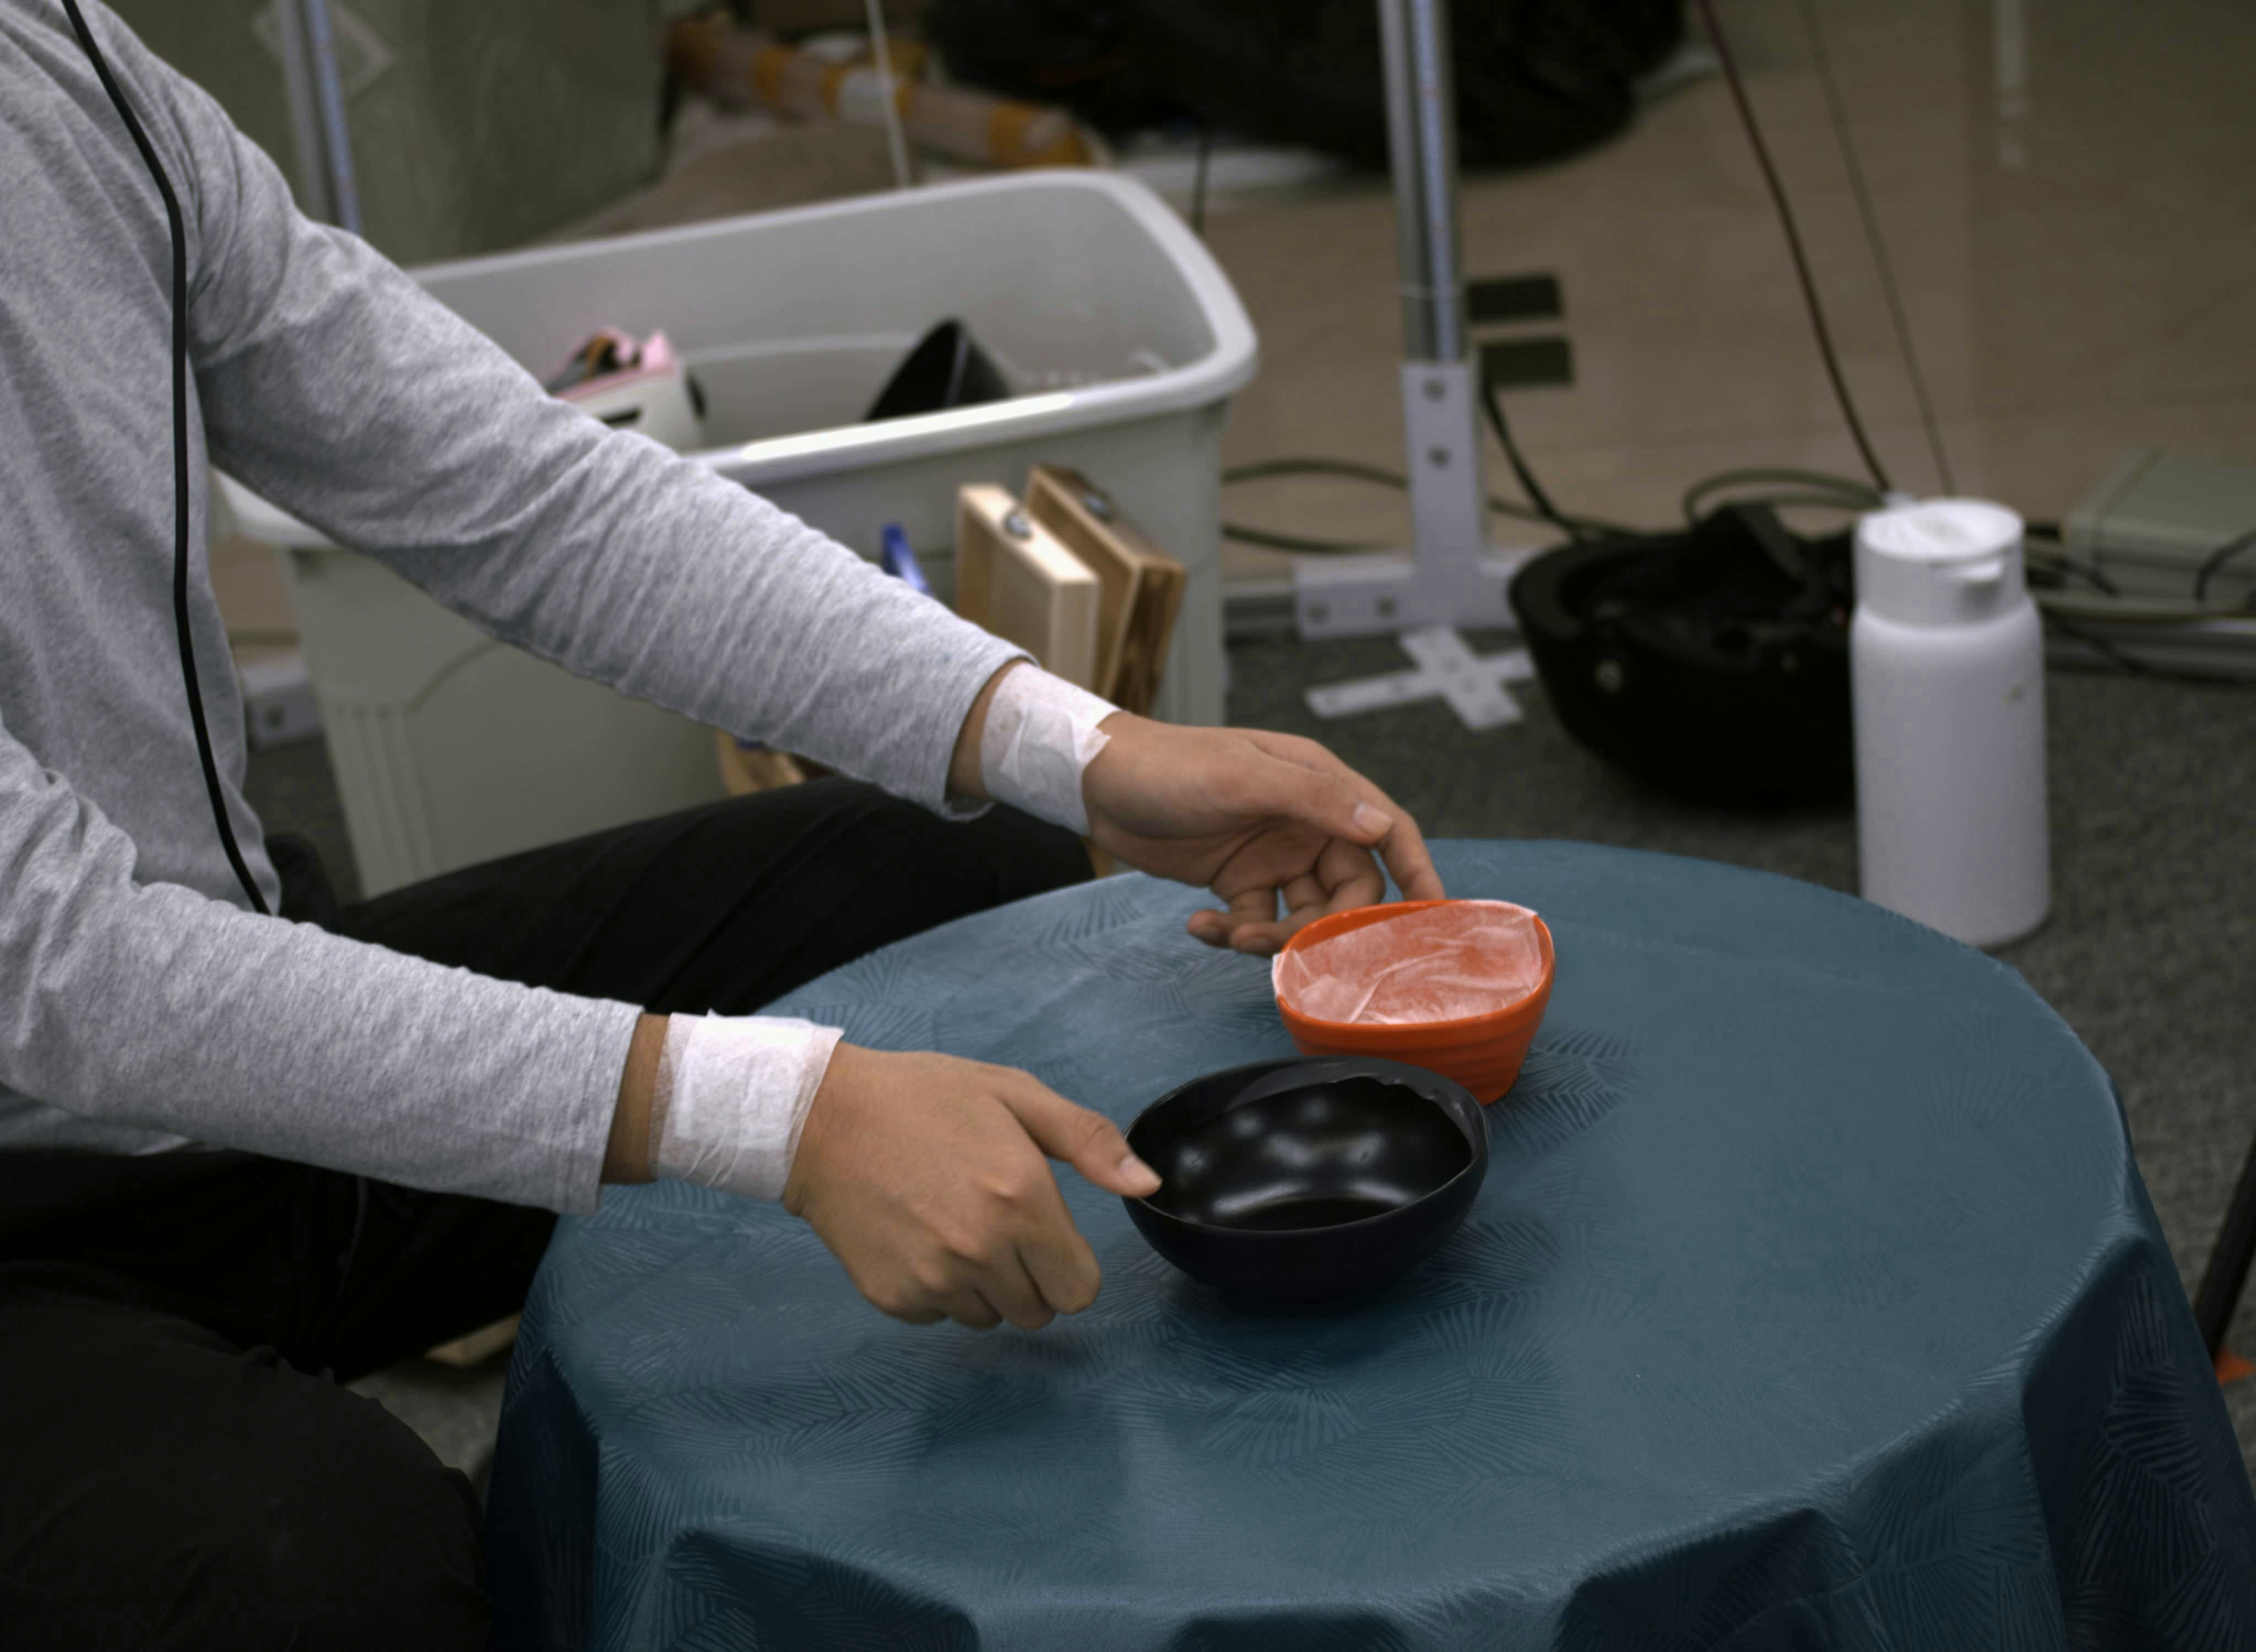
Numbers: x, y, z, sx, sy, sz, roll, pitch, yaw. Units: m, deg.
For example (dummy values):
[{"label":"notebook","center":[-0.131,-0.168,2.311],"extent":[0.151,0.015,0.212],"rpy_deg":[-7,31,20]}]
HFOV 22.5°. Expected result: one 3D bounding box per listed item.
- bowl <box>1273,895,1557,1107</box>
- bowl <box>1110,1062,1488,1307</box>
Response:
[{"label":"bowl","center":[0.112,0.073,2.201],"extent":[0.119,0.052,0.117],"rpy_deg":[-4,27,2]},{"label":"bowl","center":[0.065,0.138,2.081],"extent":[0.140,0.050,0.138],"rpy_deg":[-8,23,3]}]
